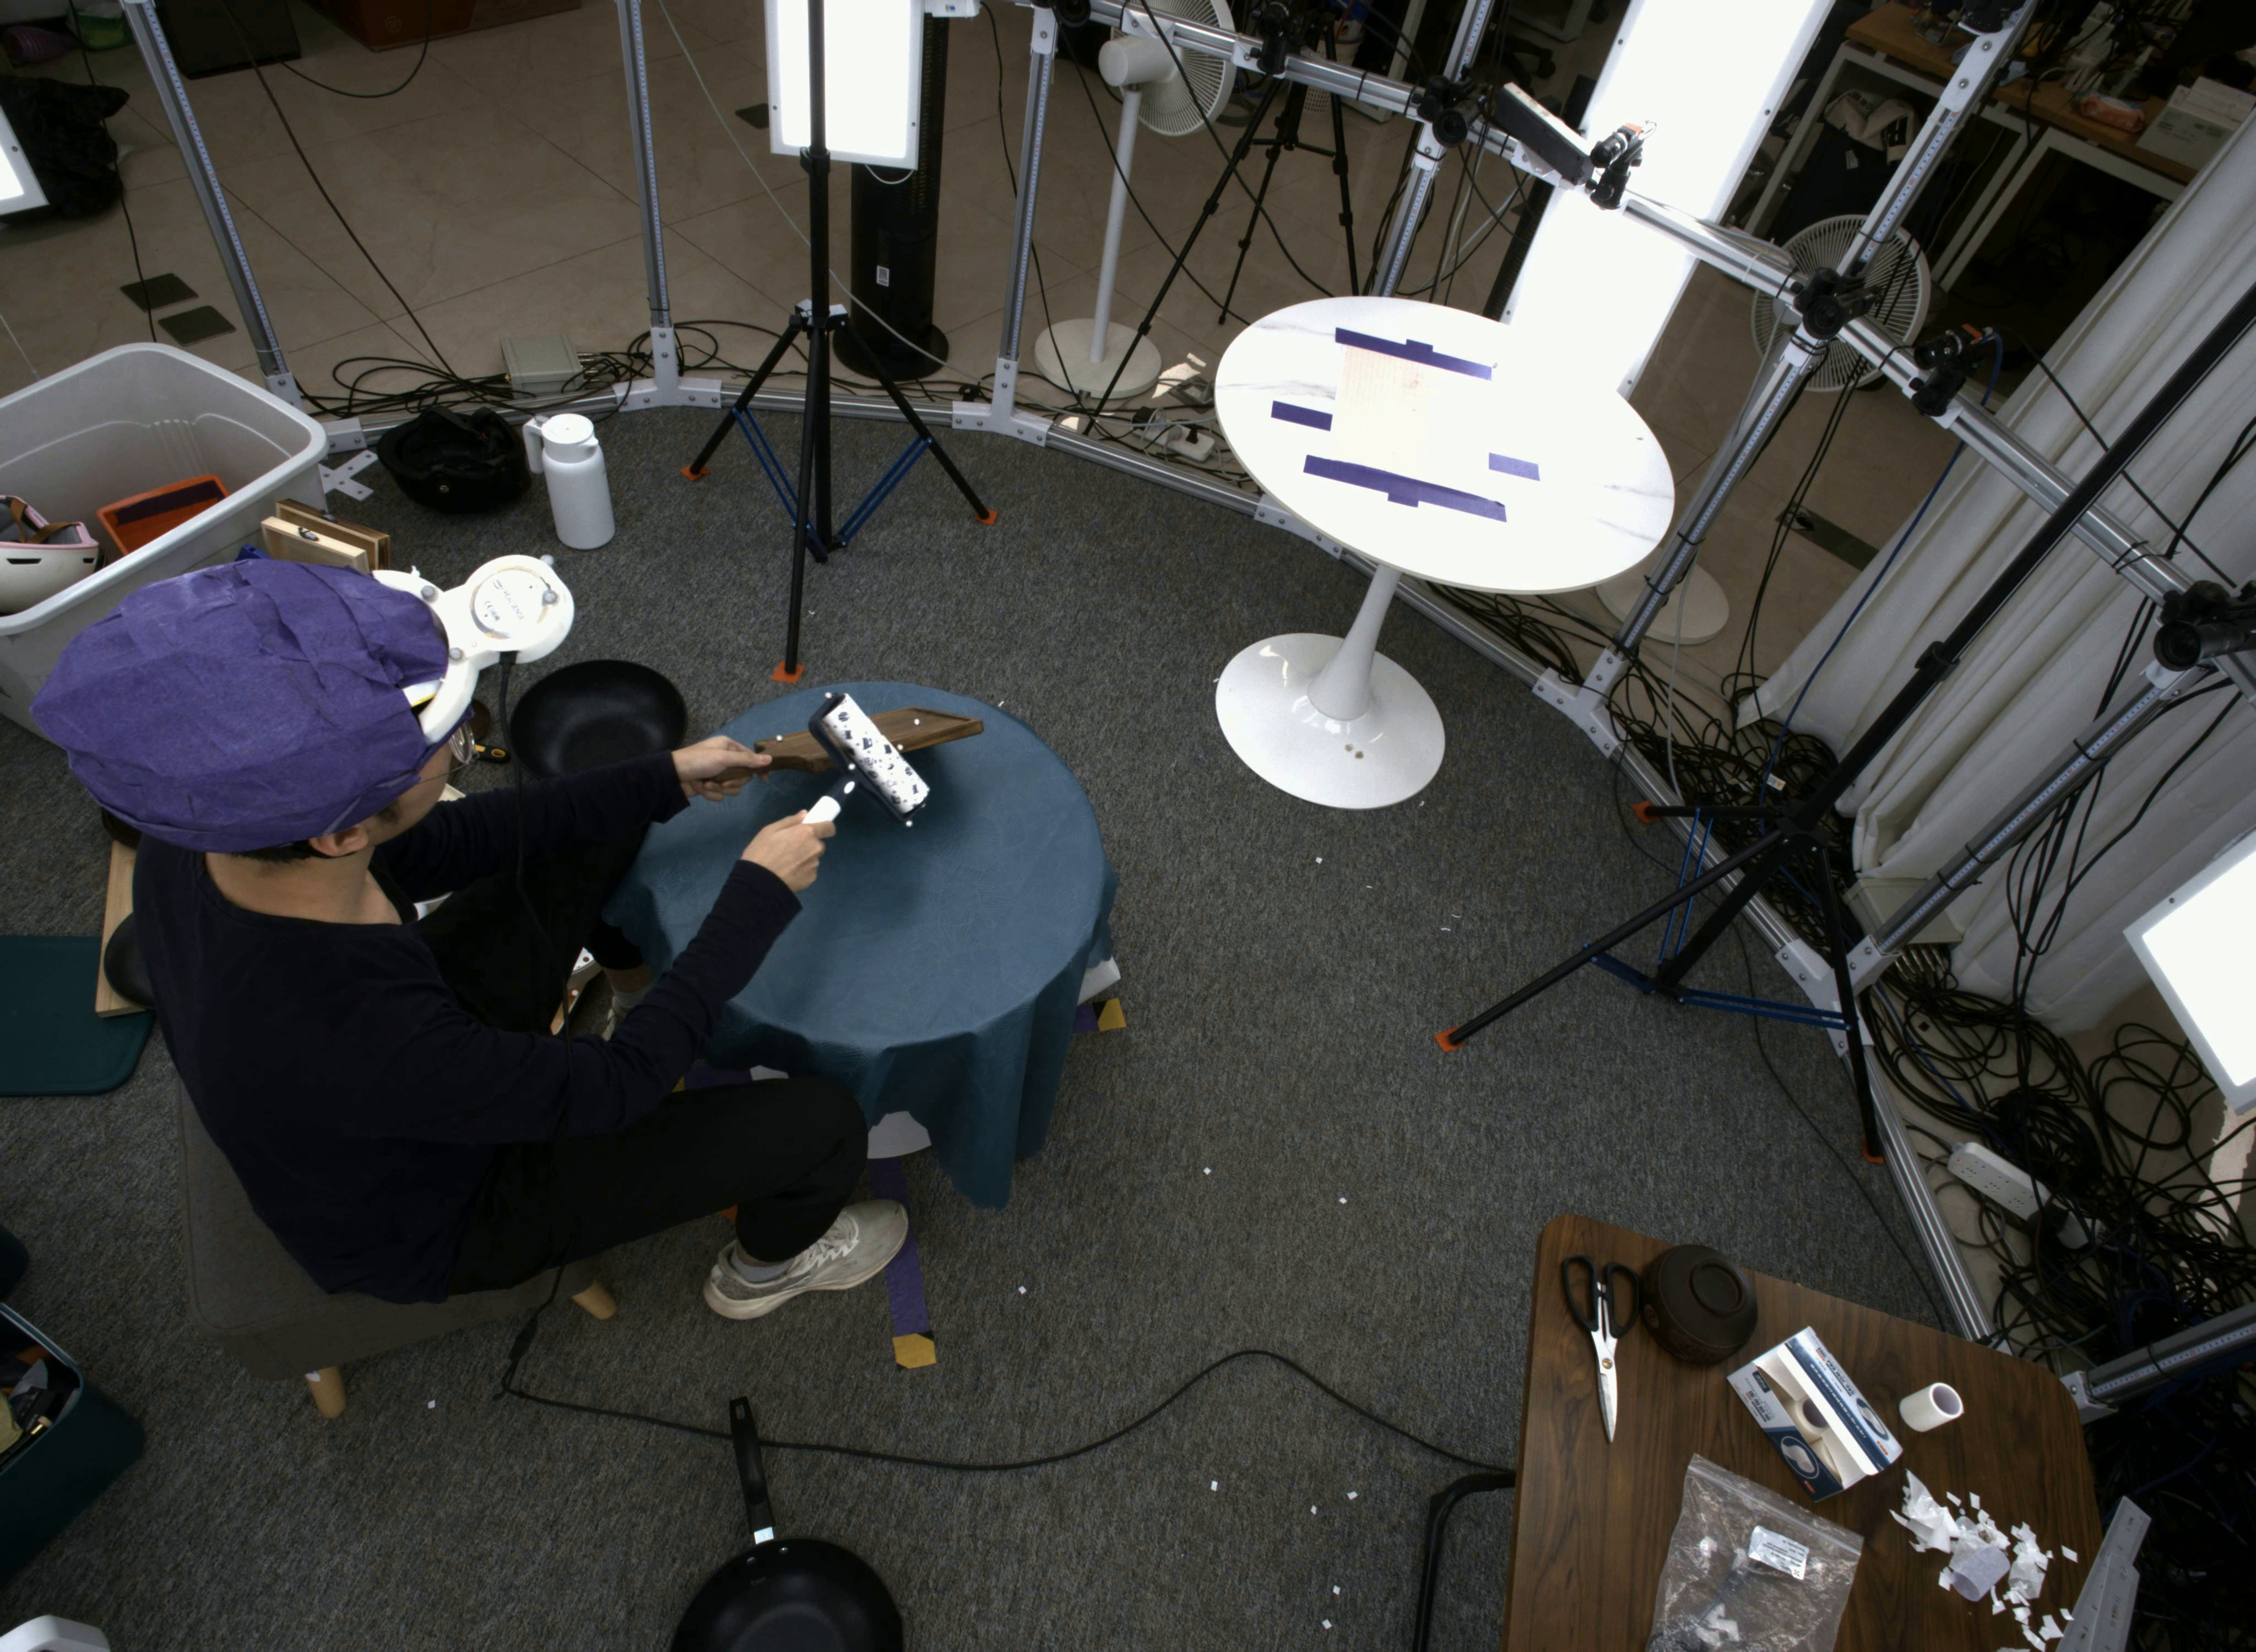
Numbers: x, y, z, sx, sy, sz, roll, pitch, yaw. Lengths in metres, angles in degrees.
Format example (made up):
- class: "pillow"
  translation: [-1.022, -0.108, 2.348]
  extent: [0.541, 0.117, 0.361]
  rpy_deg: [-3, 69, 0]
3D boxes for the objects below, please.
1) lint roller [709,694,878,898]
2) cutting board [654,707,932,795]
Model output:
- class: "lint roller"
  translation: [-0.415, -0.014, 1.538]
  extent: [0.182, 0.049, 0.245]
  rpy_deg: [50, 50, -28]
- class: "cutting board"
  translation: [-0.450, -0.101, 1.686]
  extent: [0.355, 0.024, 0.194]
  rpy_deg: [-21, 21, -37]
